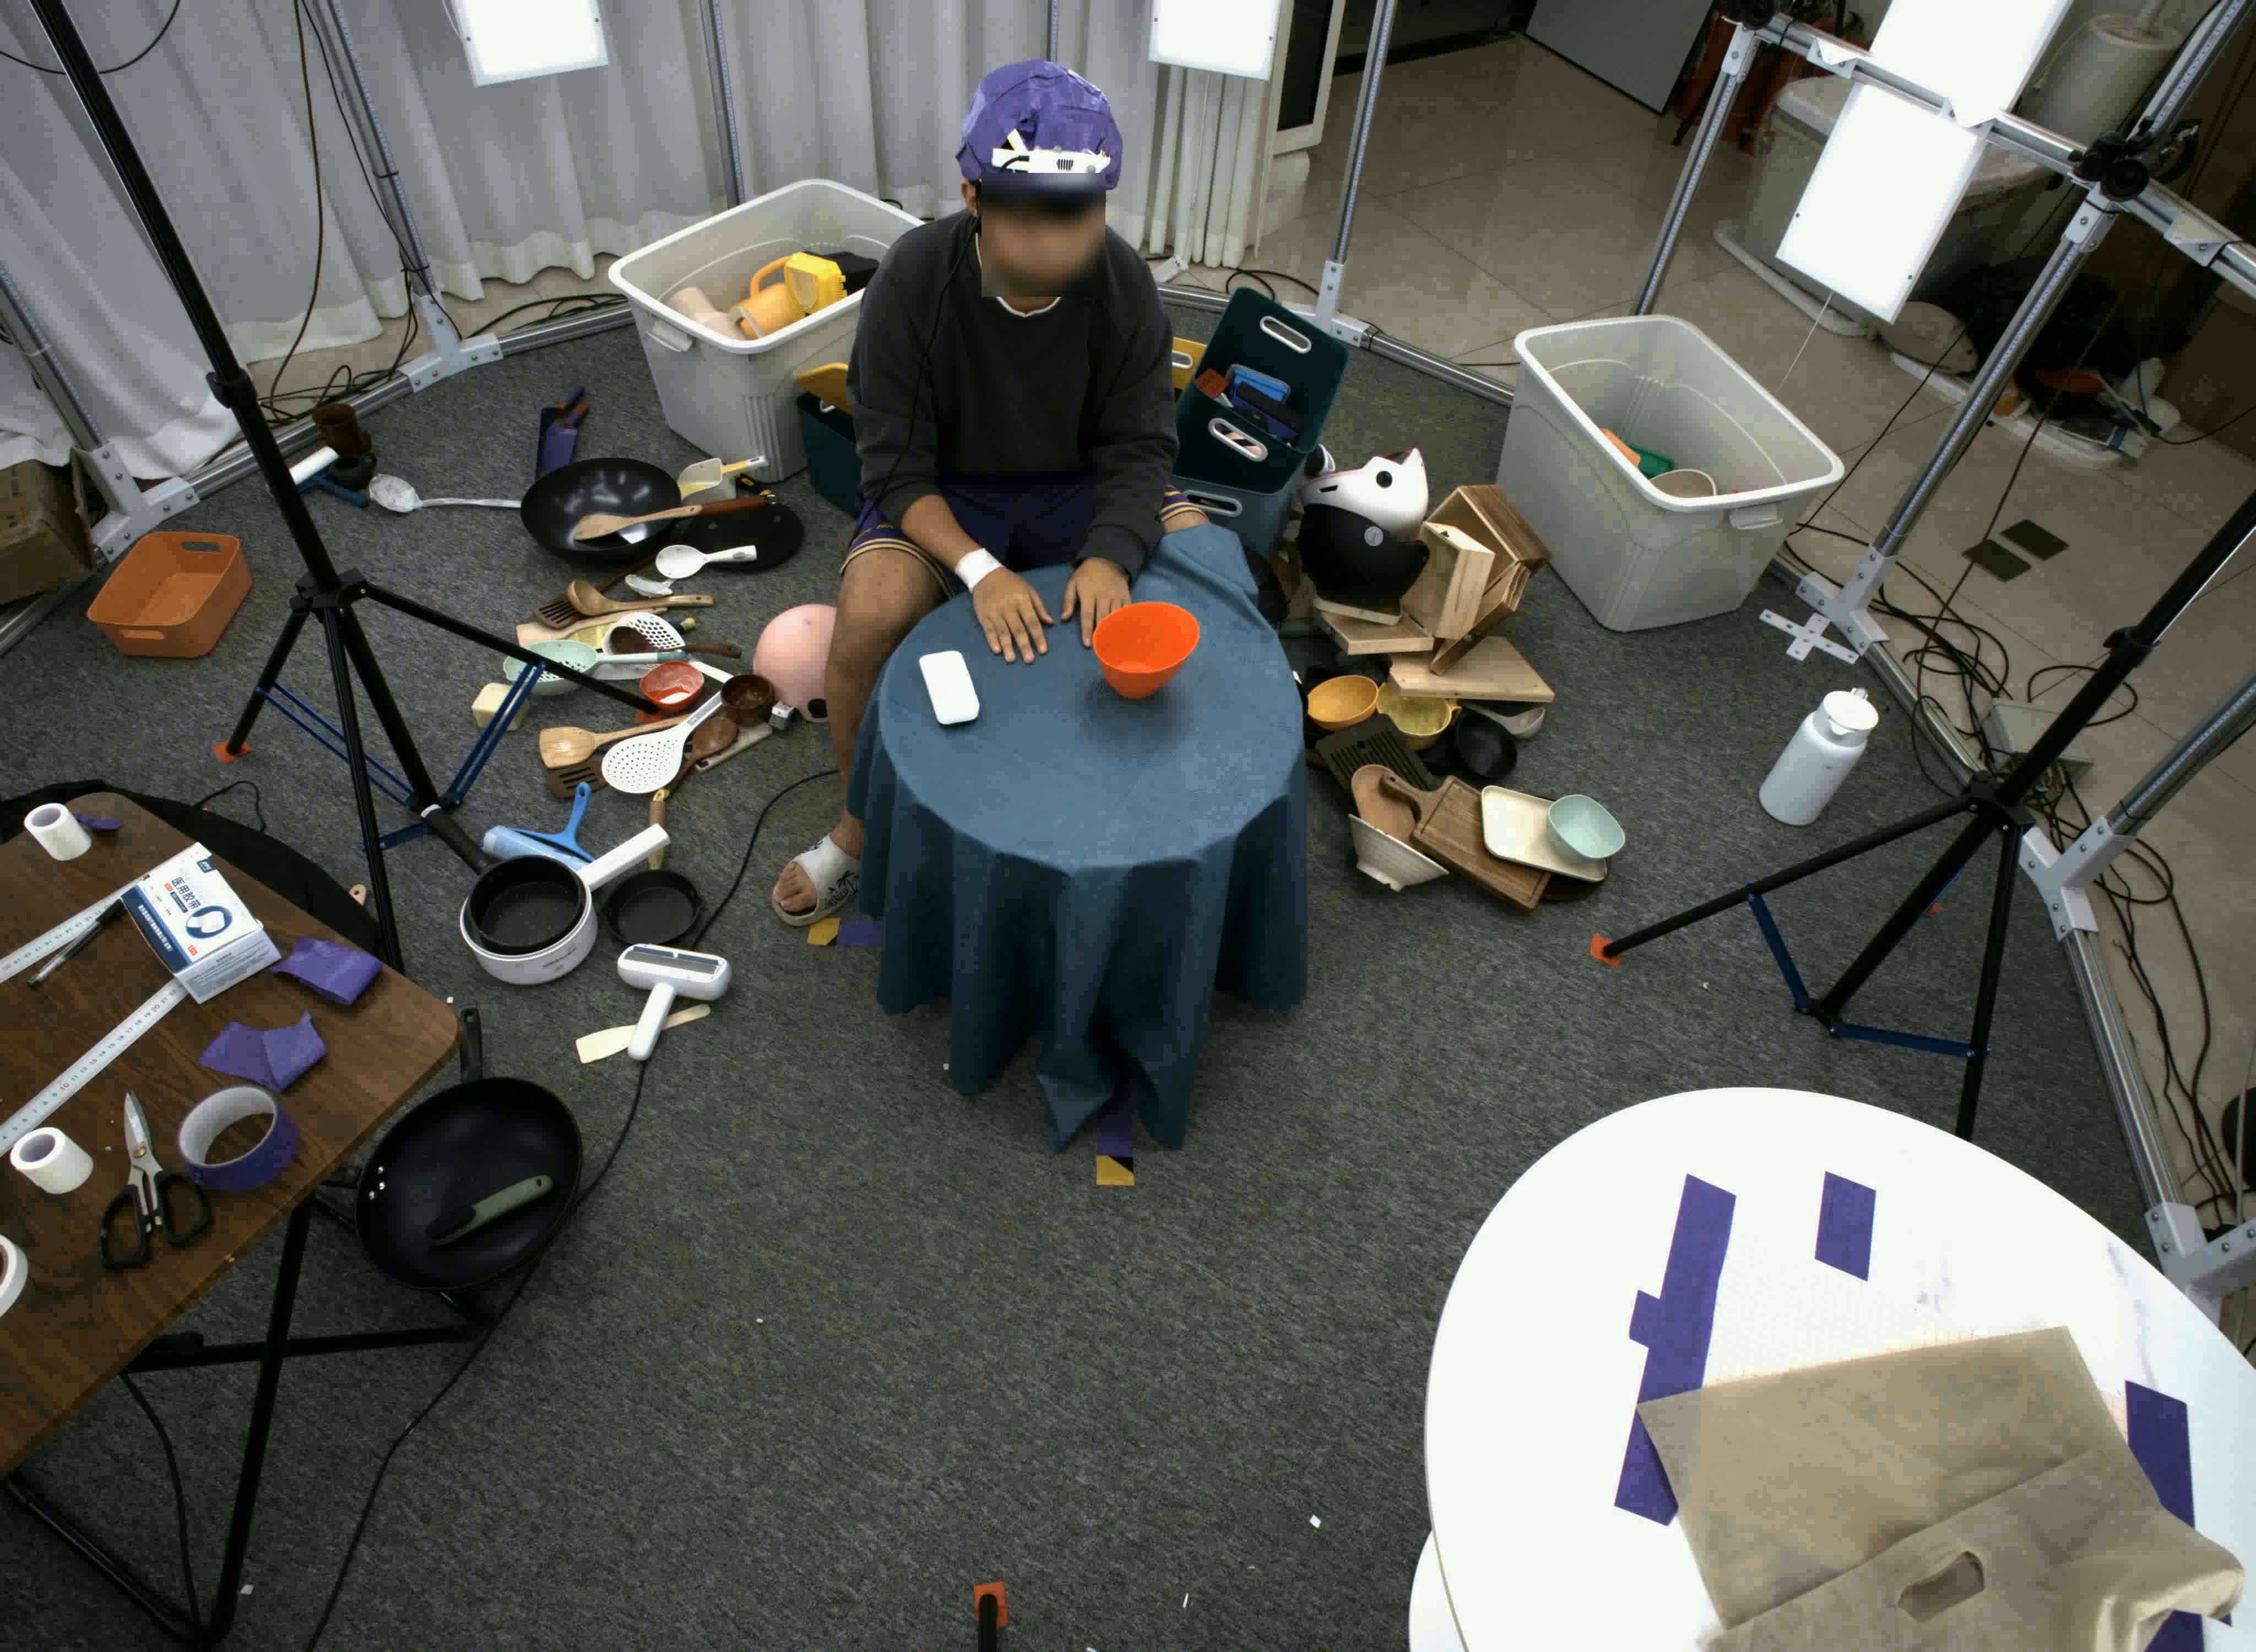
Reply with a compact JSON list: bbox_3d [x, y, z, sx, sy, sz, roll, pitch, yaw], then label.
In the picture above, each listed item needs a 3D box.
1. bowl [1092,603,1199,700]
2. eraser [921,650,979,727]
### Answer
[{"bbox_3d":[0.022,-0.236,1.808,0.148,0.102,0.152,1,49,-2],"label":"bowl"},{"bbox_3d":[-0.248,-0.196,1.799,0.063,0.034,0.134,-9,52,-13],"label":"eraser"}]
